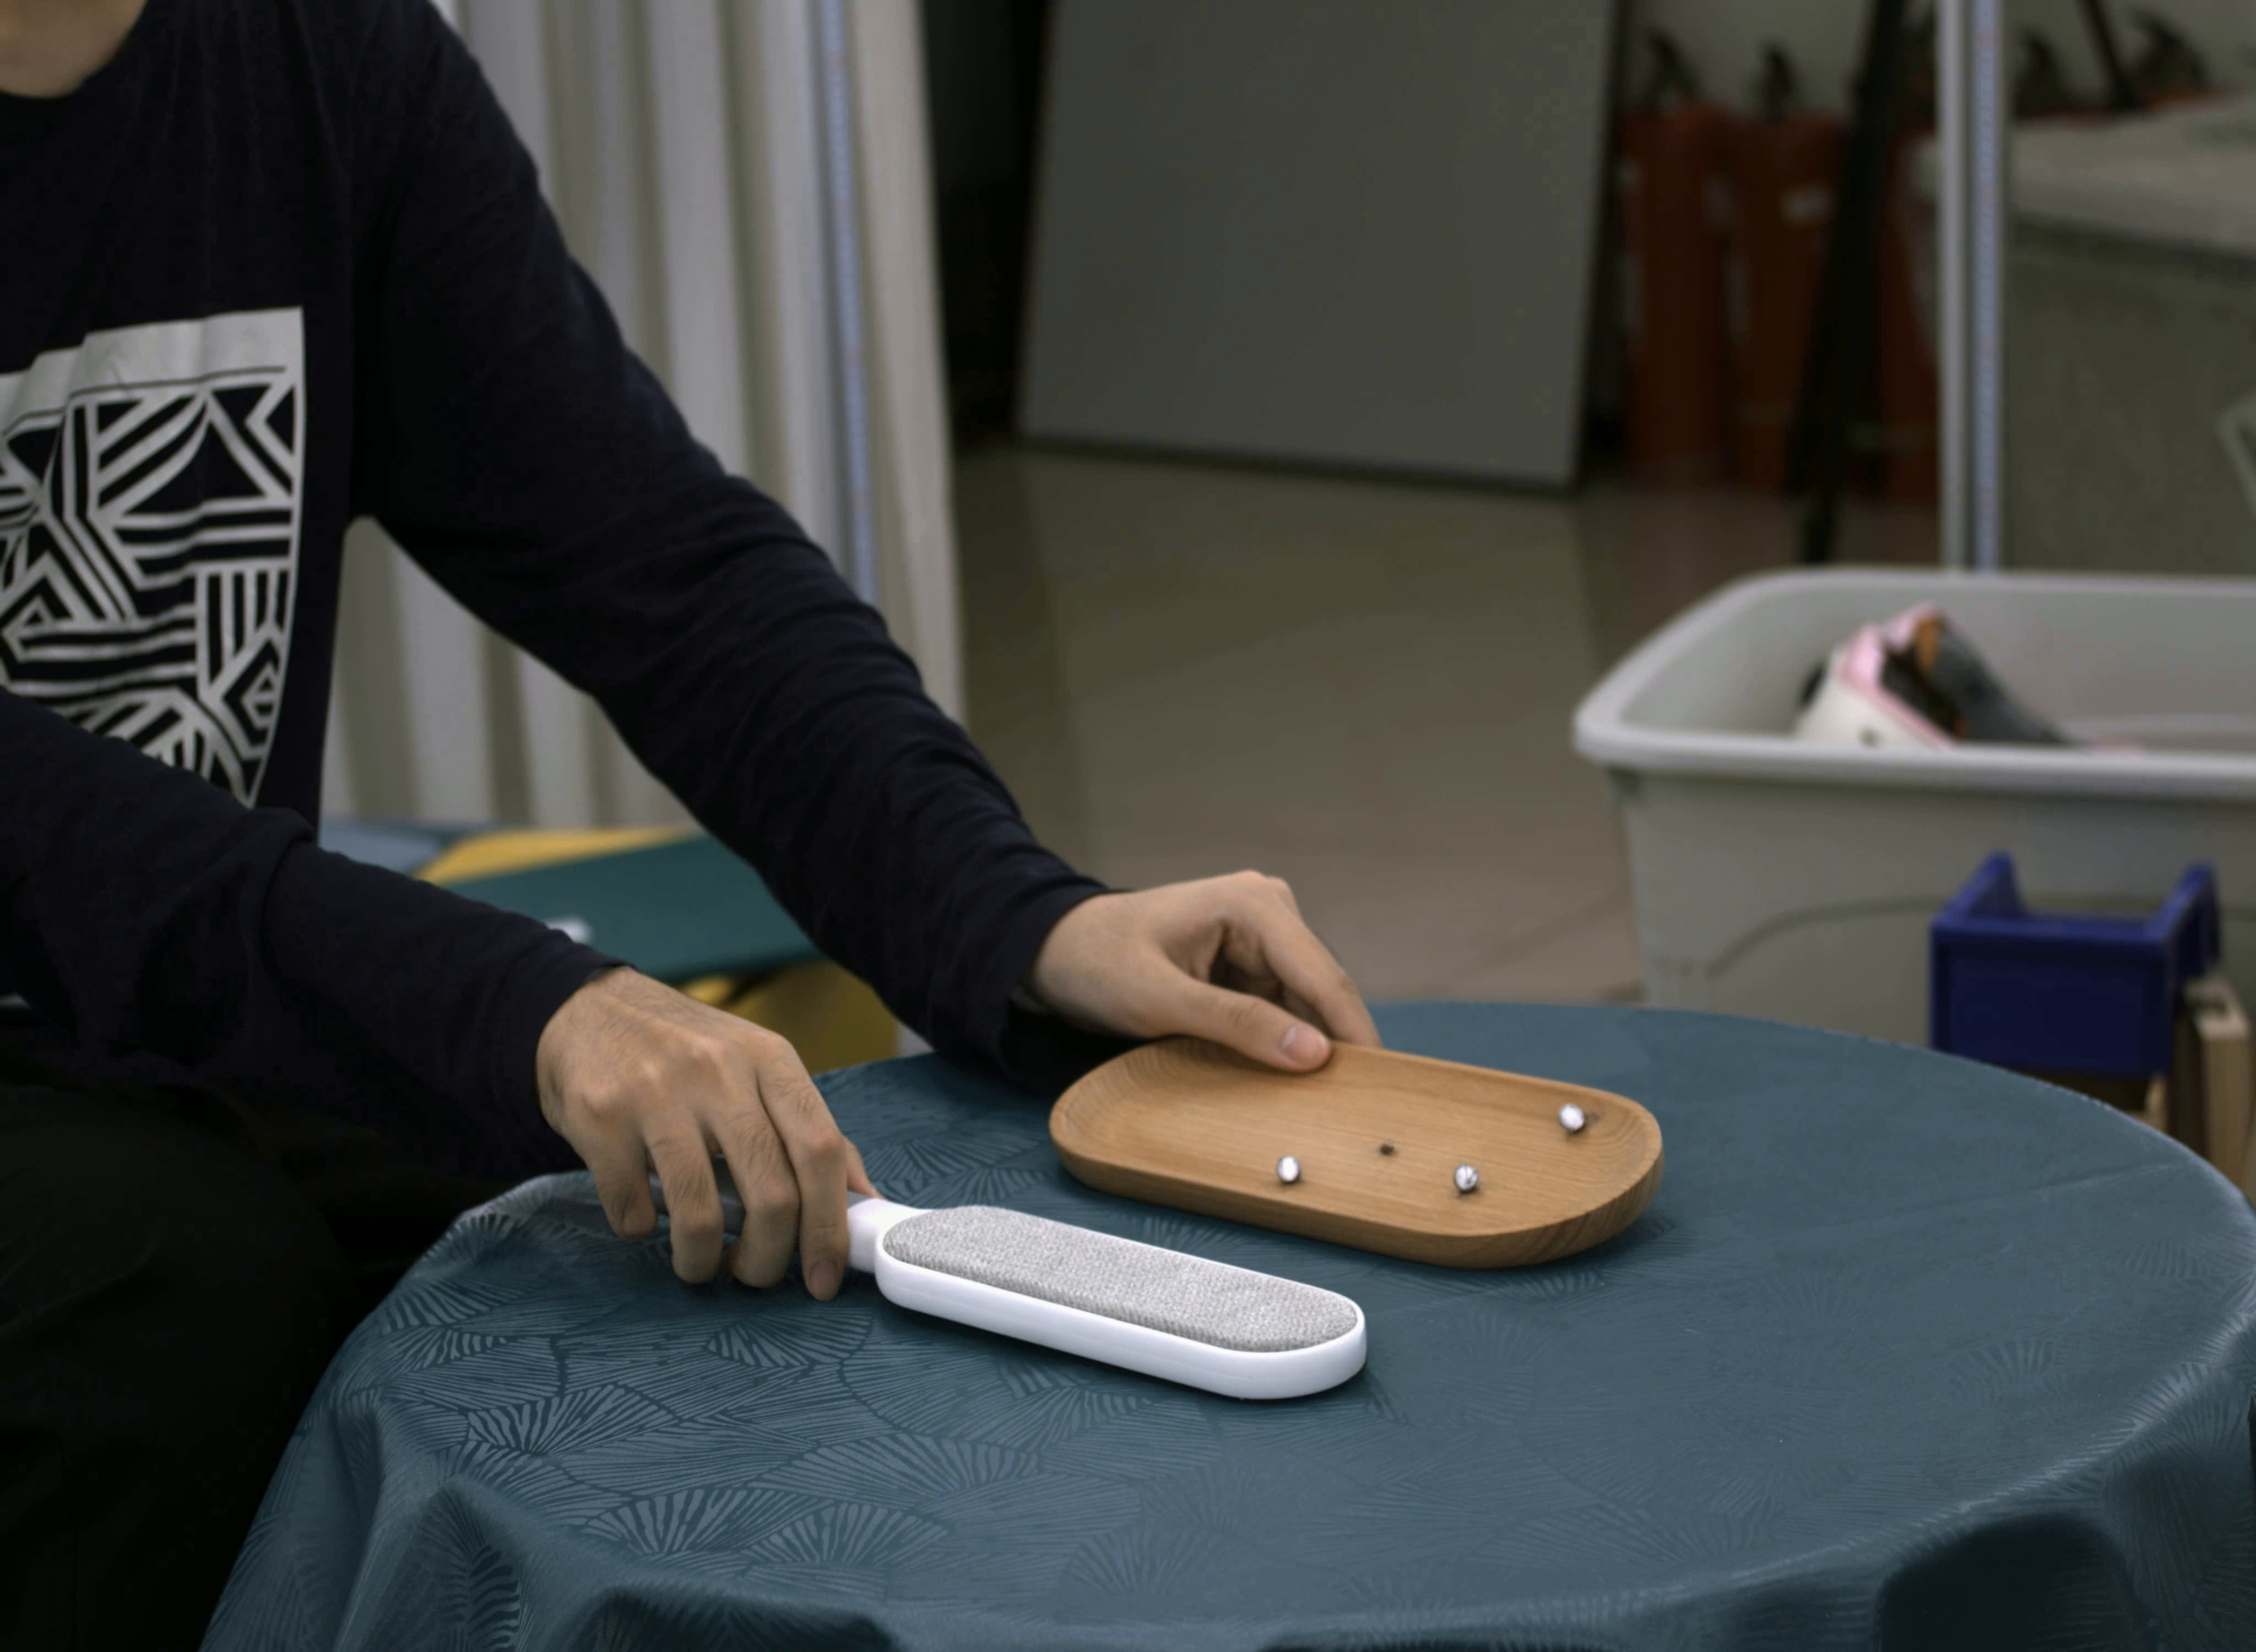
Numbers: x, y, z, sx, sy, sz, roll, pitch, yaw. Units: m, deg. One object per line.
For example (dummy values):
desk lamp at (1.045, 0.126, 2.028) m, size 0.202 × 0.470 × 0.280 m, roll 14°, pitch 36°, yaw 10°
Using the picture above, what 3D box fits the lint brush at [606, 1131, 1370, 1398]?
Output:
lint brush at (-0.050, 0.131, 1.669) m, size 0.311 × 0.021 × 0.059 m, roll 11°, pitch 28°, yaw 41°

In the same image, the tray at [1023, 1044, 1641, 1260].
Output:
tray at (0.065, 0.105, 1.751) m, size 0.233 × 0.020 × 0.100 m, roll 5°, pitch 24°, yaw 41°
